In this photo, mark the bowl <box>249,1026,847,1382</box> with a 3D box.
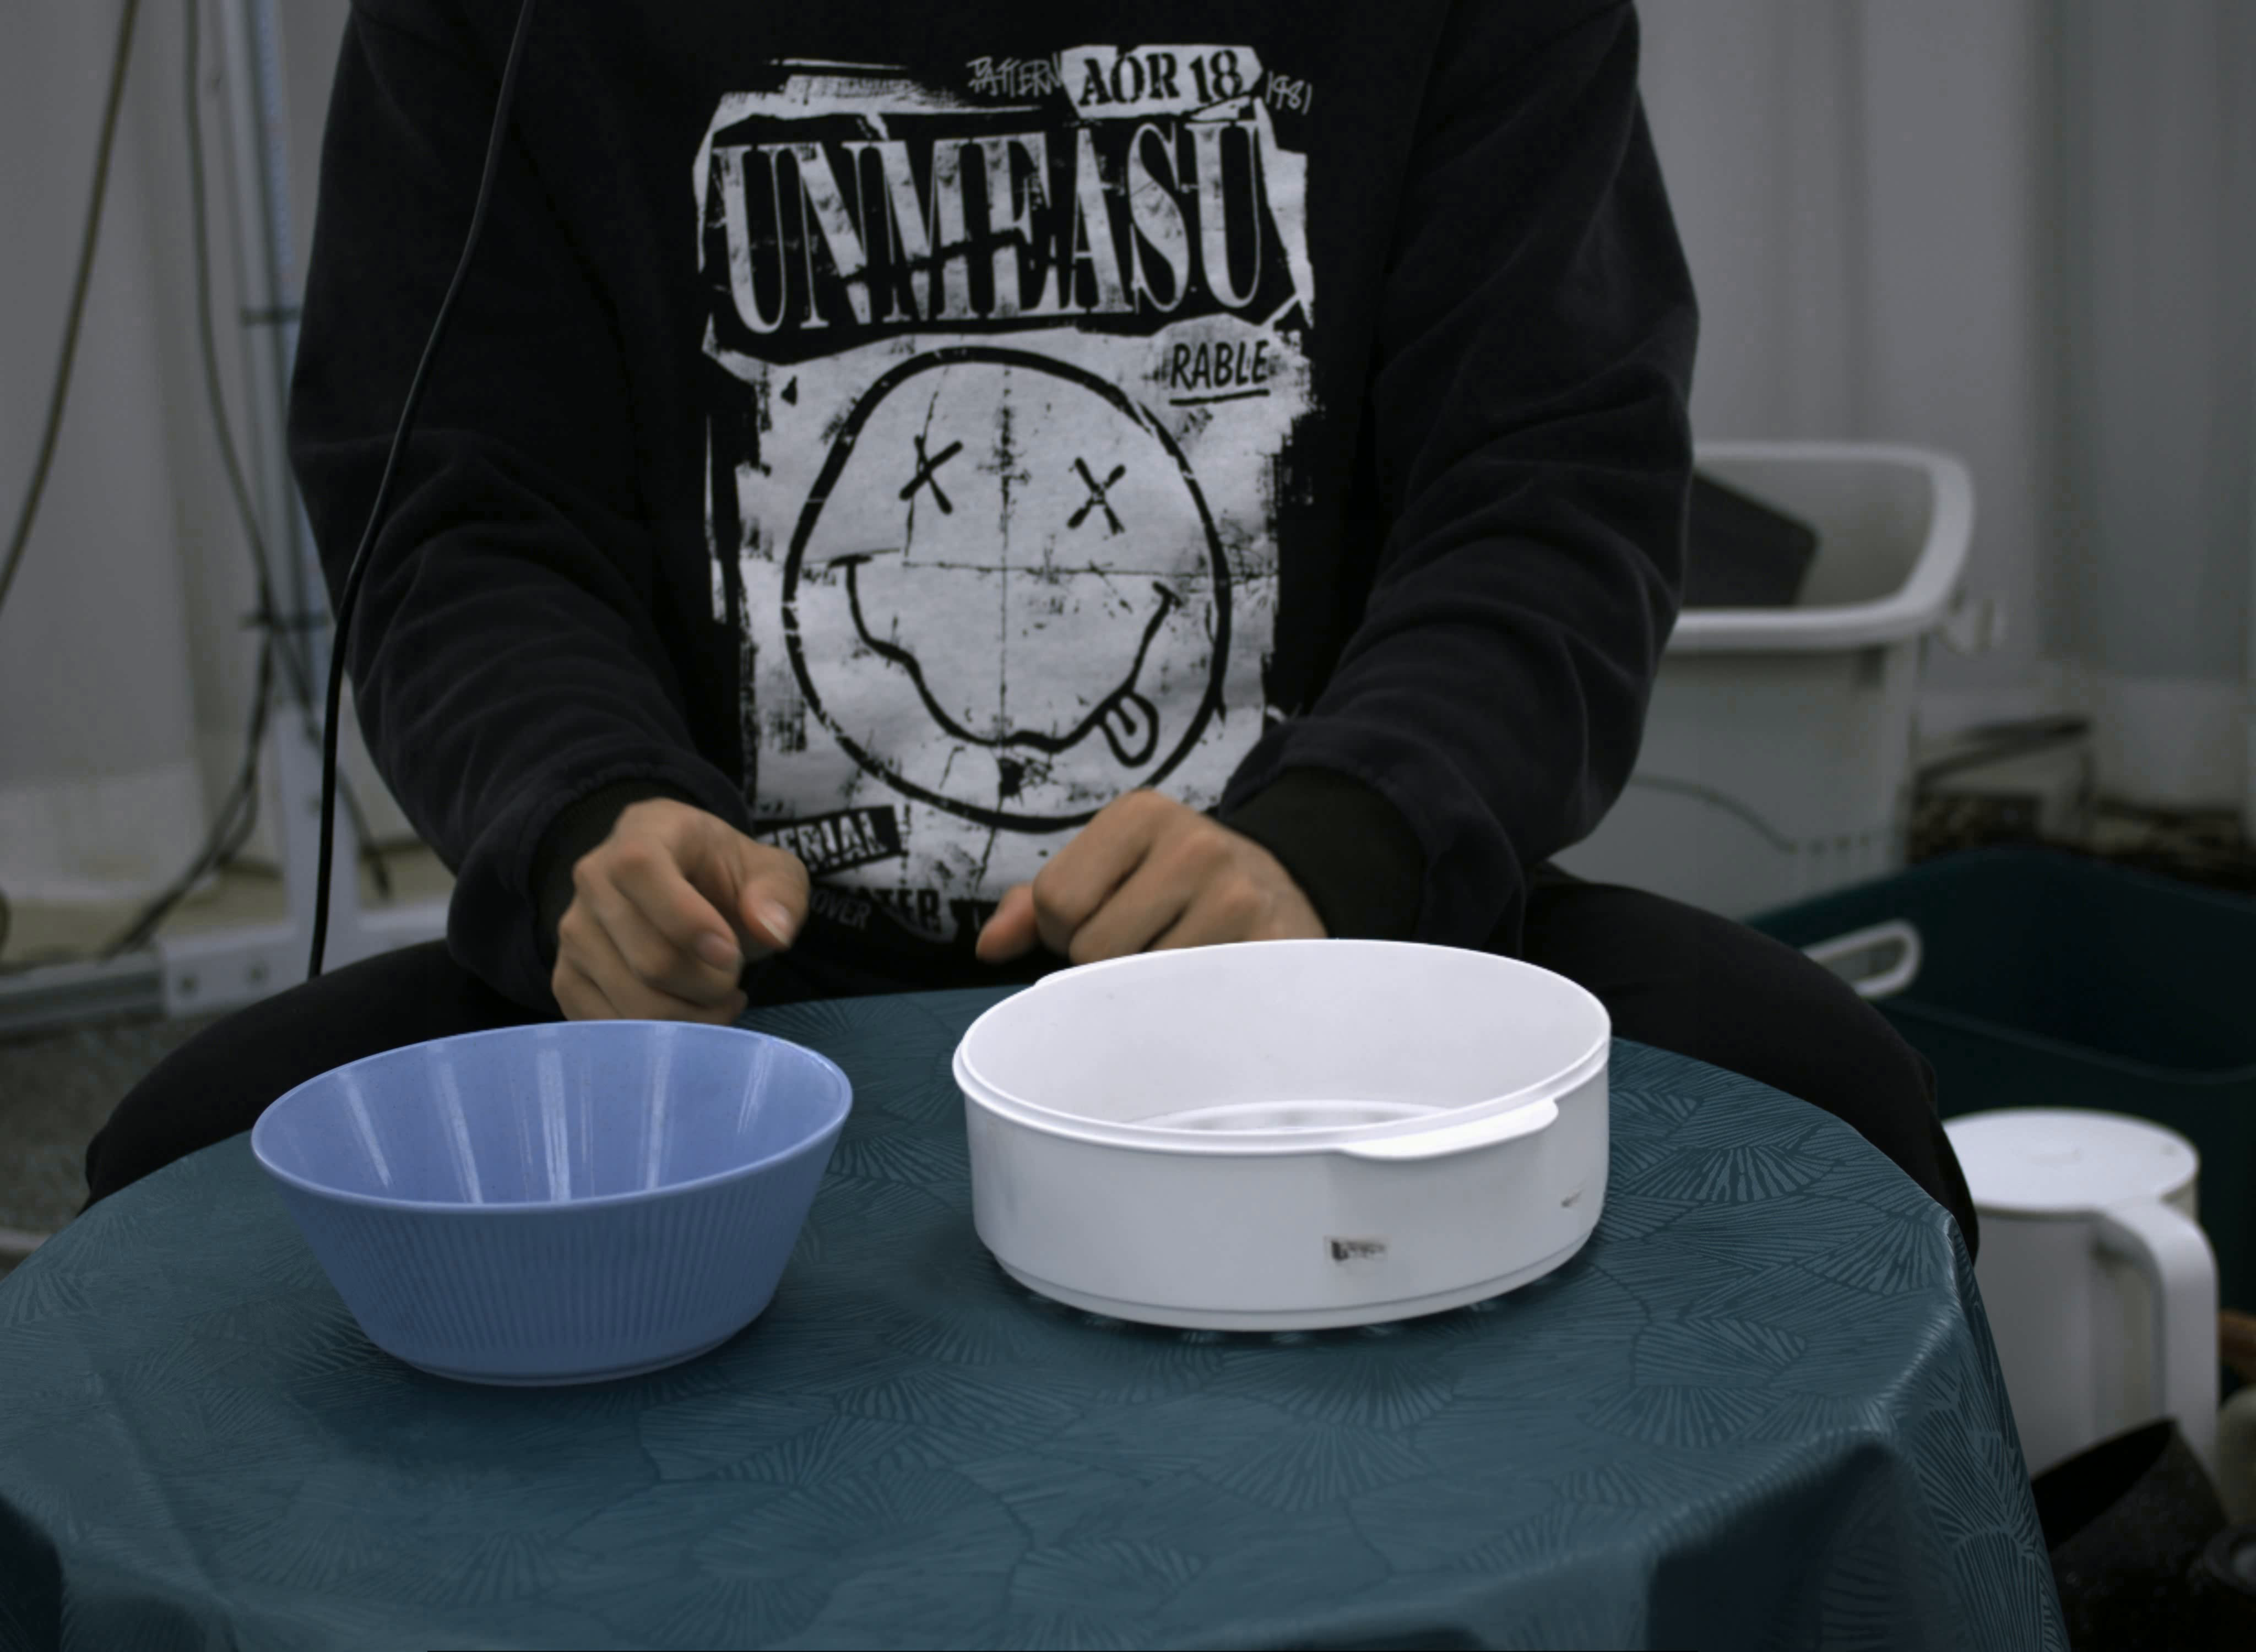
[{"bbox_3d":[-0.169,0.114,1.613,0.175,0.070,0.177,-2,14,0],"label":"bowl"}]

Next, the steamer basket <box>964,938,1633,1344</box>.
[{"bbox_3d":[0.052,0.095,1.649,0.201,0.069,0.232,-10,19,-27],"label":"steamer basket"}]
